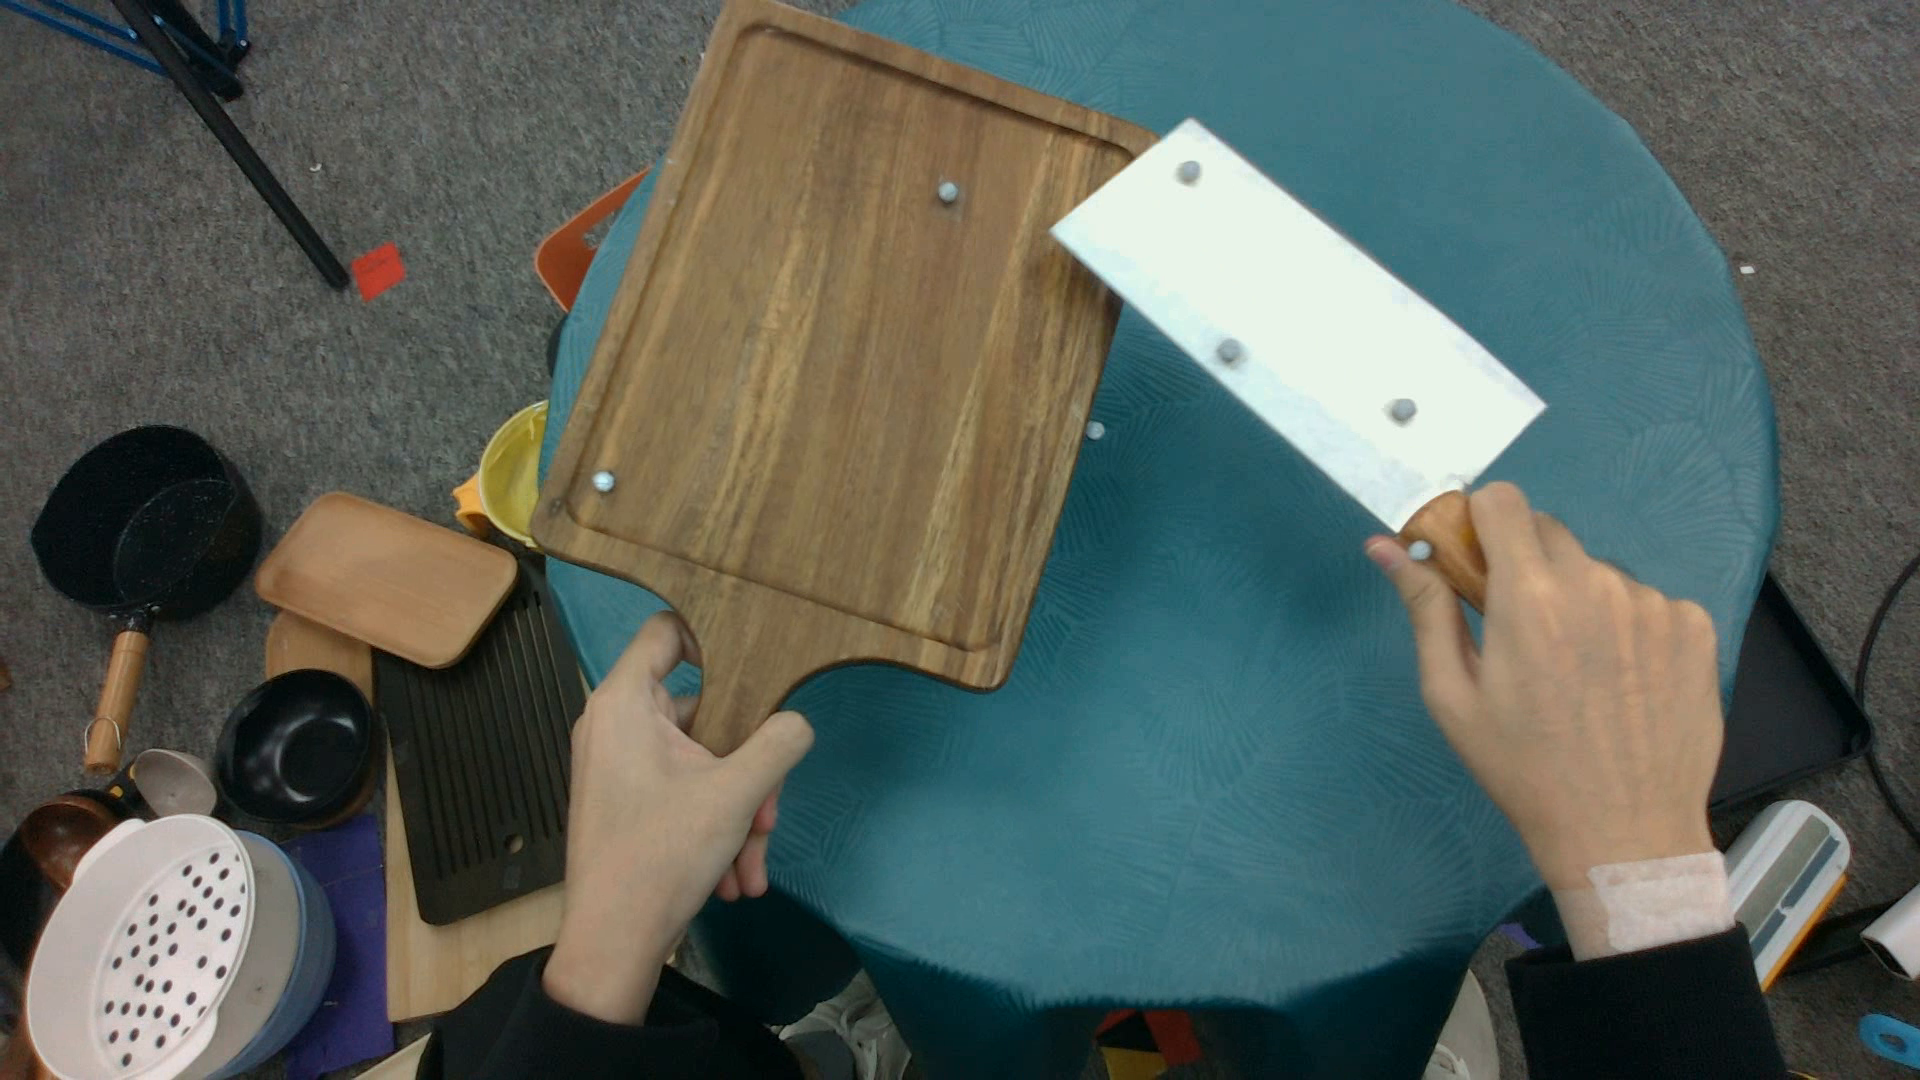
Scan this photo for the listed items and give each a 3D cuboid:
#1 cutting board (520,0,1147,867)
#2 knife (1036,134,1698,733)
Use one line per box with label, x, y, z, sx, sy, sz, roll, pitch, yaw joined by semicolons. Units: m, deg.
cutting board;-0.059;-0.044;0.555;0.201;0.023;0.353;17;78;-2
knife;0.166;-0.055;0.536;0.306;0.021;0.093;42;68;12
